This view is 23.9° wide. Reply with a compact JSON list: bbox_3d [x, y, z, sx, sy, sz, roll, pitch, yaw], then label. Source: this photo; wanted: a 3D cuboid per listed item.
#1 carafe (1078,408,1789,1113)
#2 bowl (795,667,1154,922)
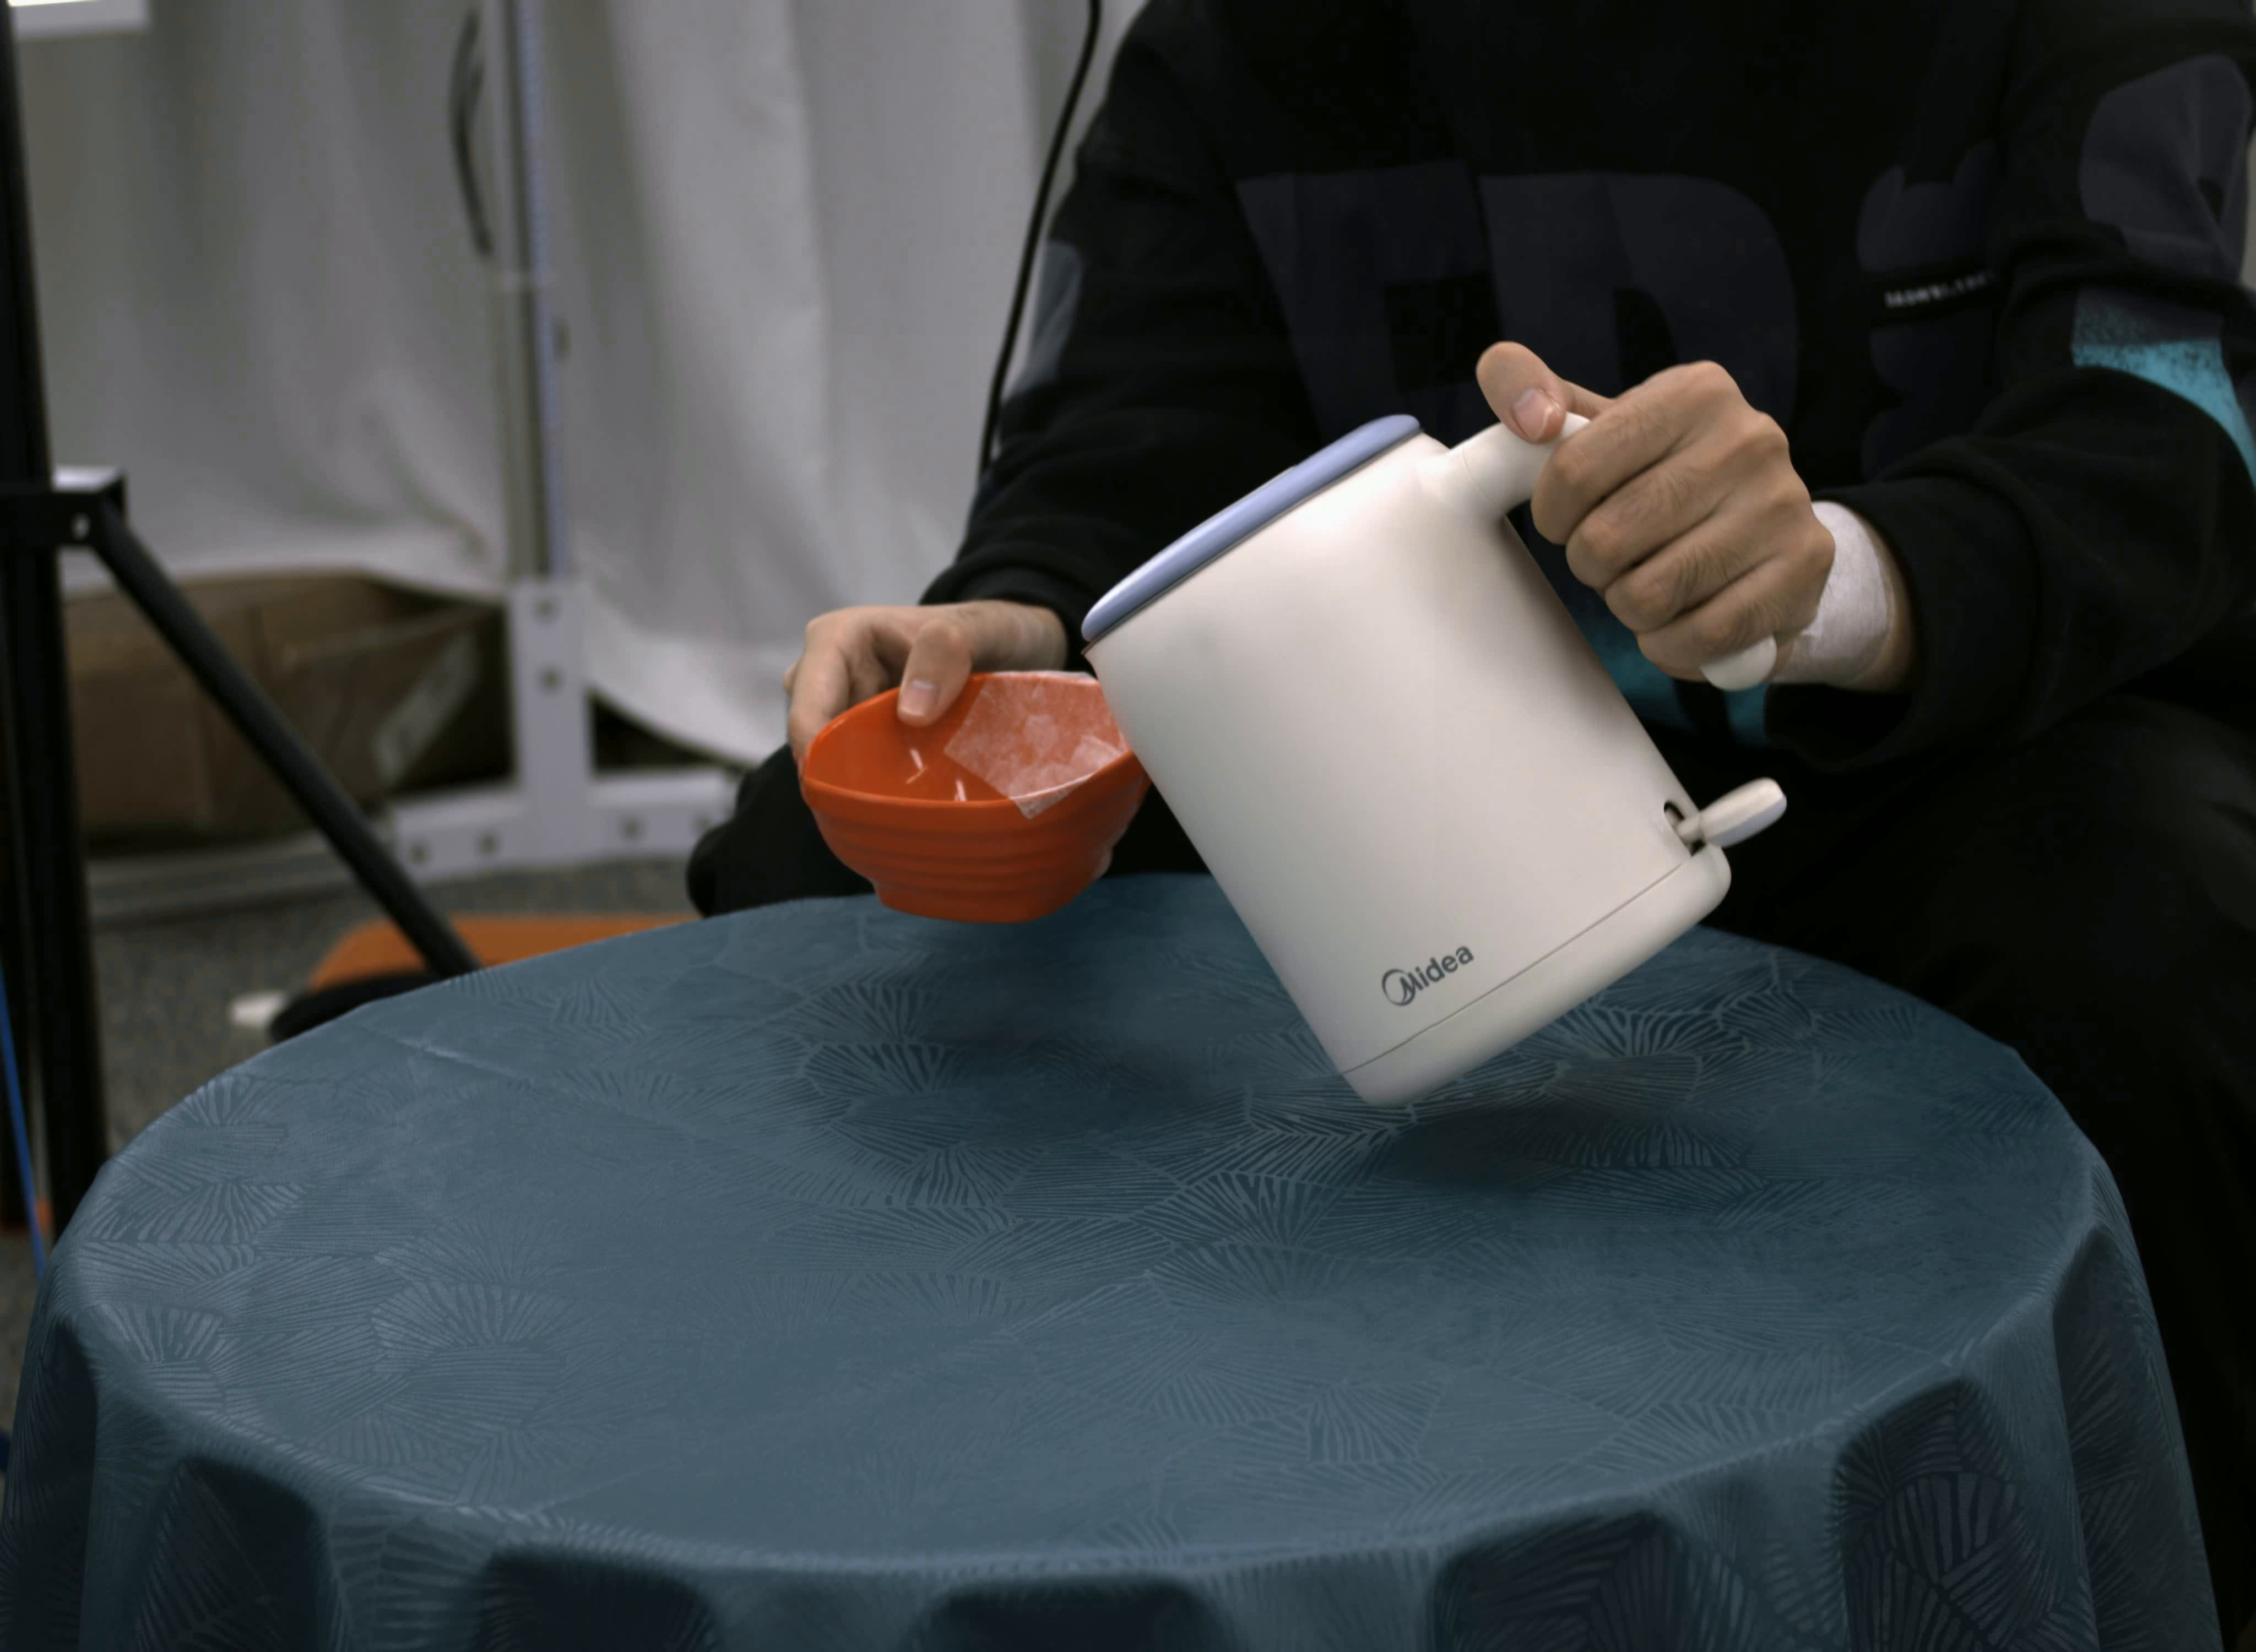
[{"bbox_3d":[0.100,-0.030,1.558,0.193,0.183,0.130,-30,1,27],"label":"carafe"},{"bbox_3d":[-0.044,-0.007,1.685,0.118,0.051,0.120,-8,22,2],"label":"bowl"}]
